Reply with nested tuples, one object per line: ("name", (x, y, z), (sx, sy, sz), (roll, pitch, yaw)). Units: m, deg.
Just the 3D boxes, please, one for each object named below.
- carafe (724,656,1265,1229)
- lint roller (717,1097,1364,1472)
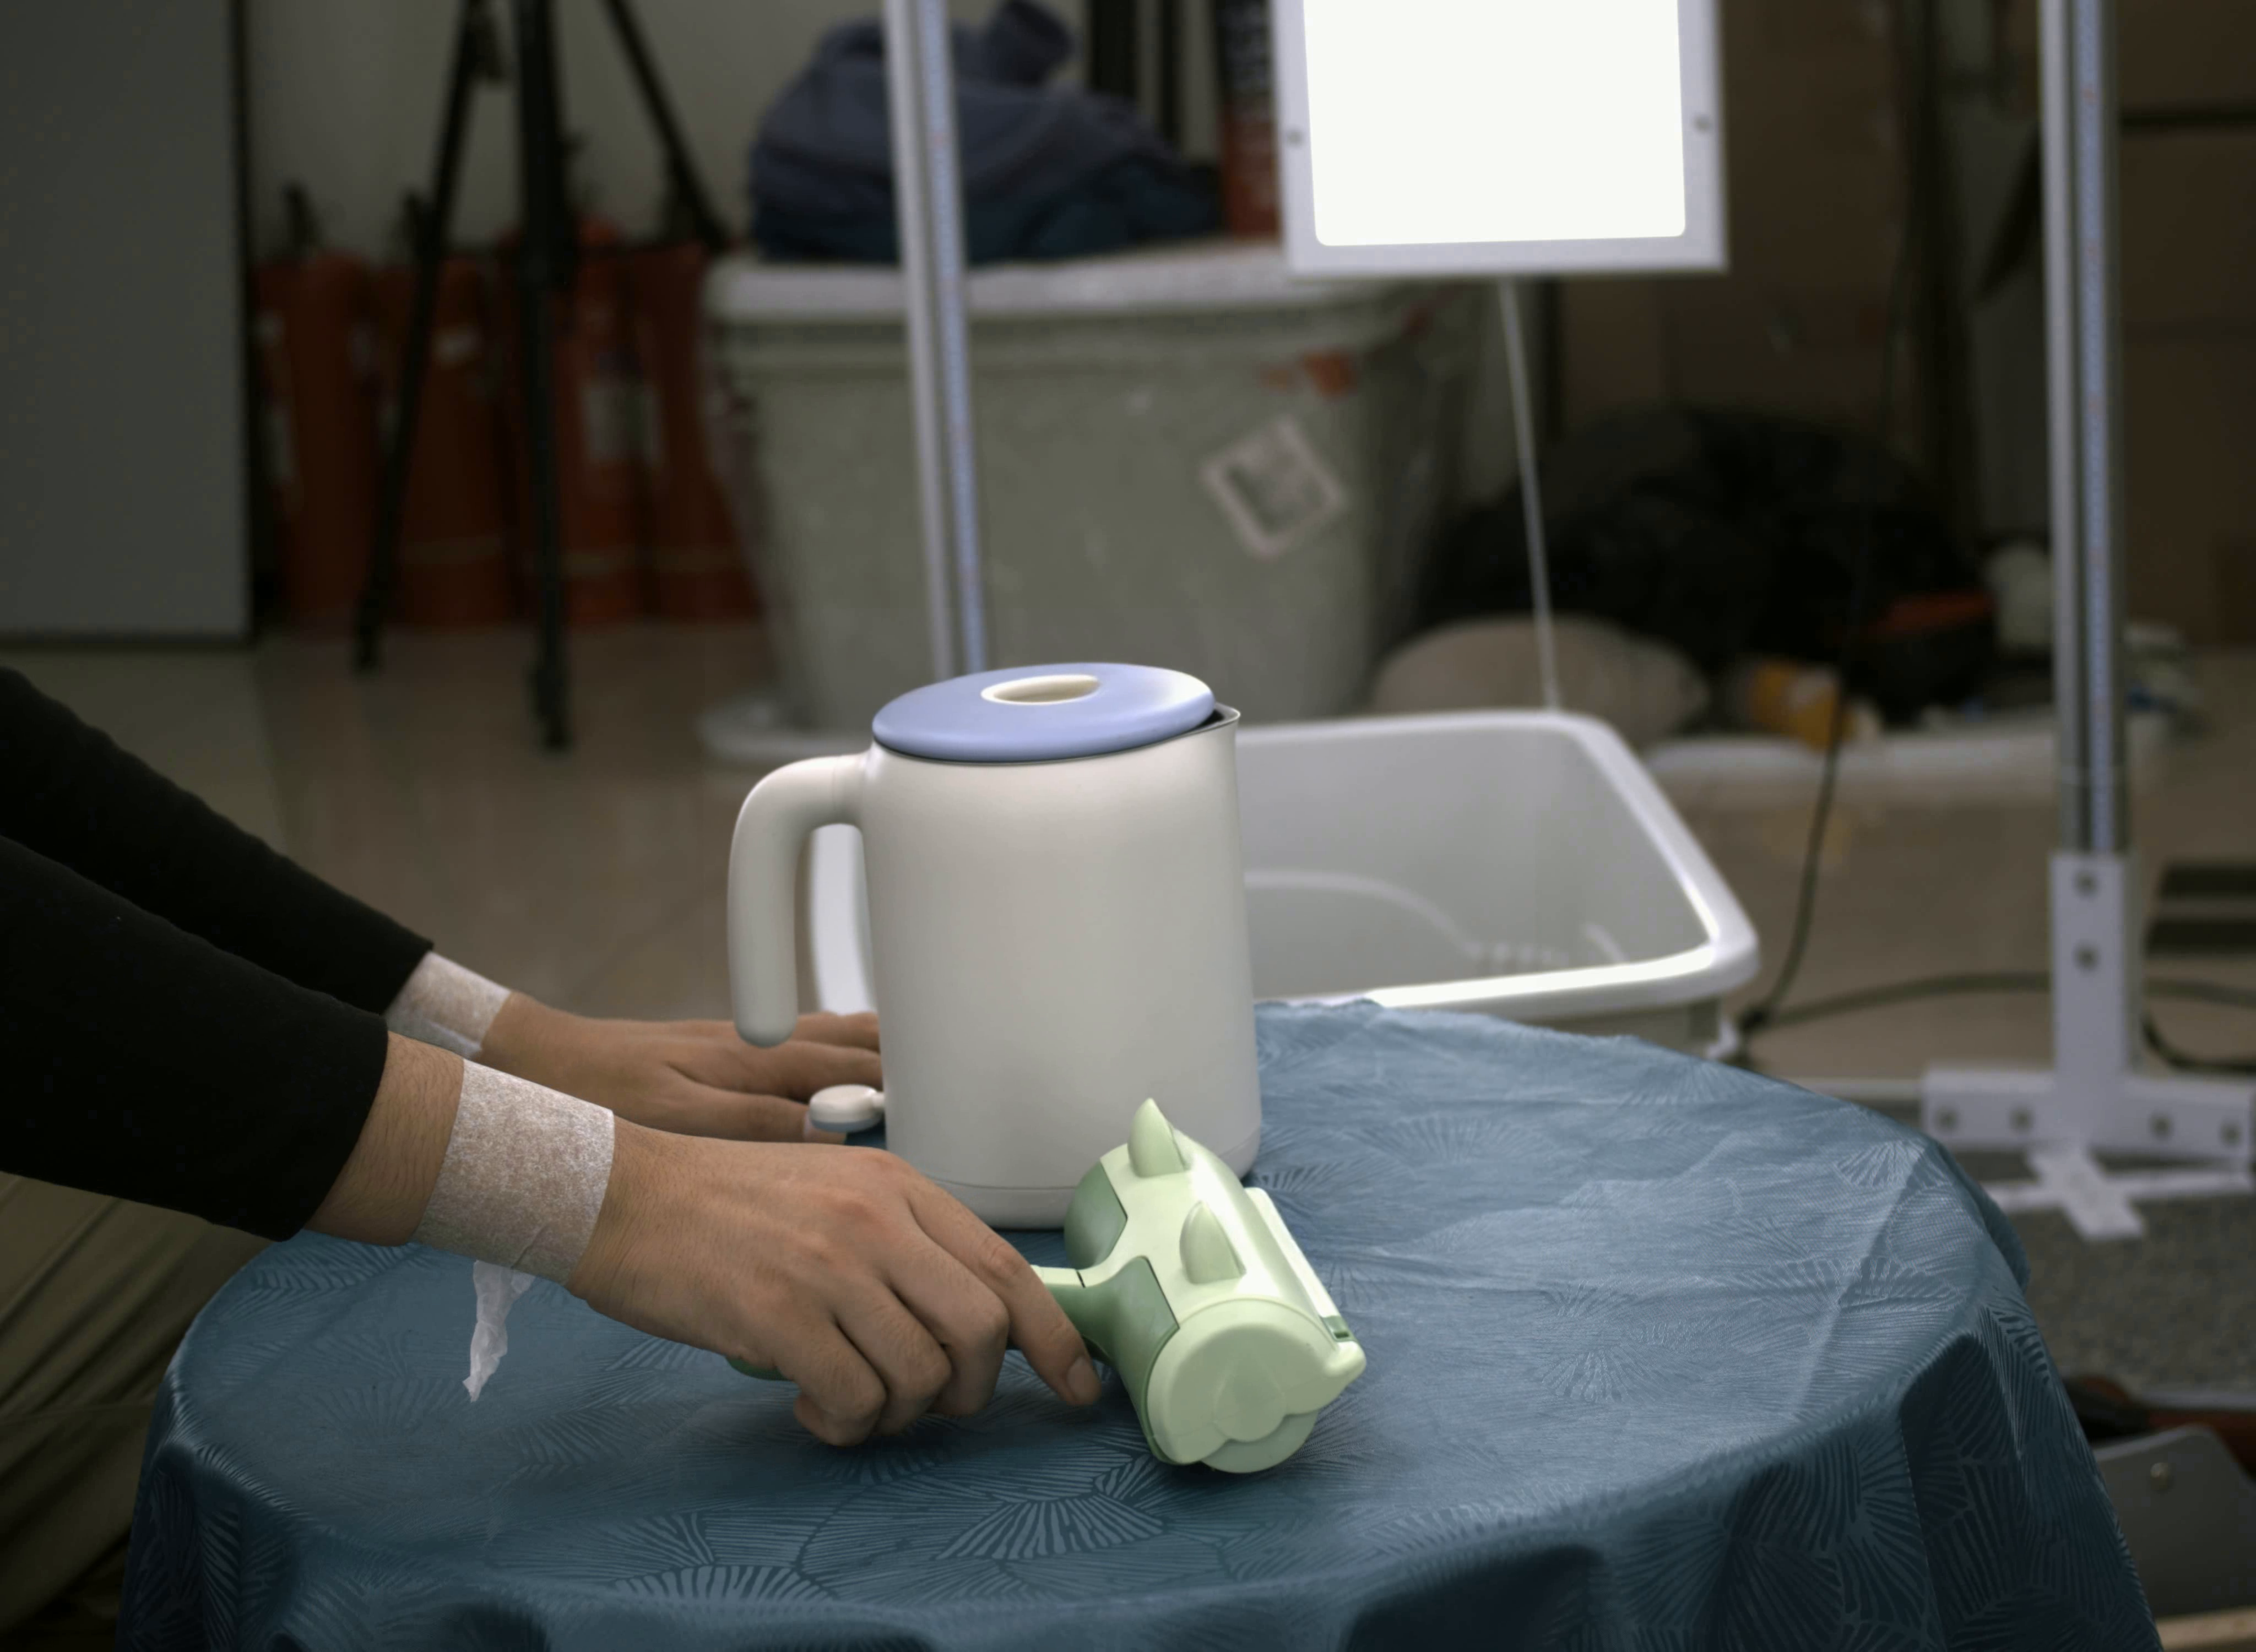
("carafe", (-0.047, 0.041, 1.904), (0.192, 0.183, 0.131), (-4, 13, 13))
("lint roller", (-0.032, 0.134, 1.691), (0.182, 0.082, 0.199), (5, 11, -8))
